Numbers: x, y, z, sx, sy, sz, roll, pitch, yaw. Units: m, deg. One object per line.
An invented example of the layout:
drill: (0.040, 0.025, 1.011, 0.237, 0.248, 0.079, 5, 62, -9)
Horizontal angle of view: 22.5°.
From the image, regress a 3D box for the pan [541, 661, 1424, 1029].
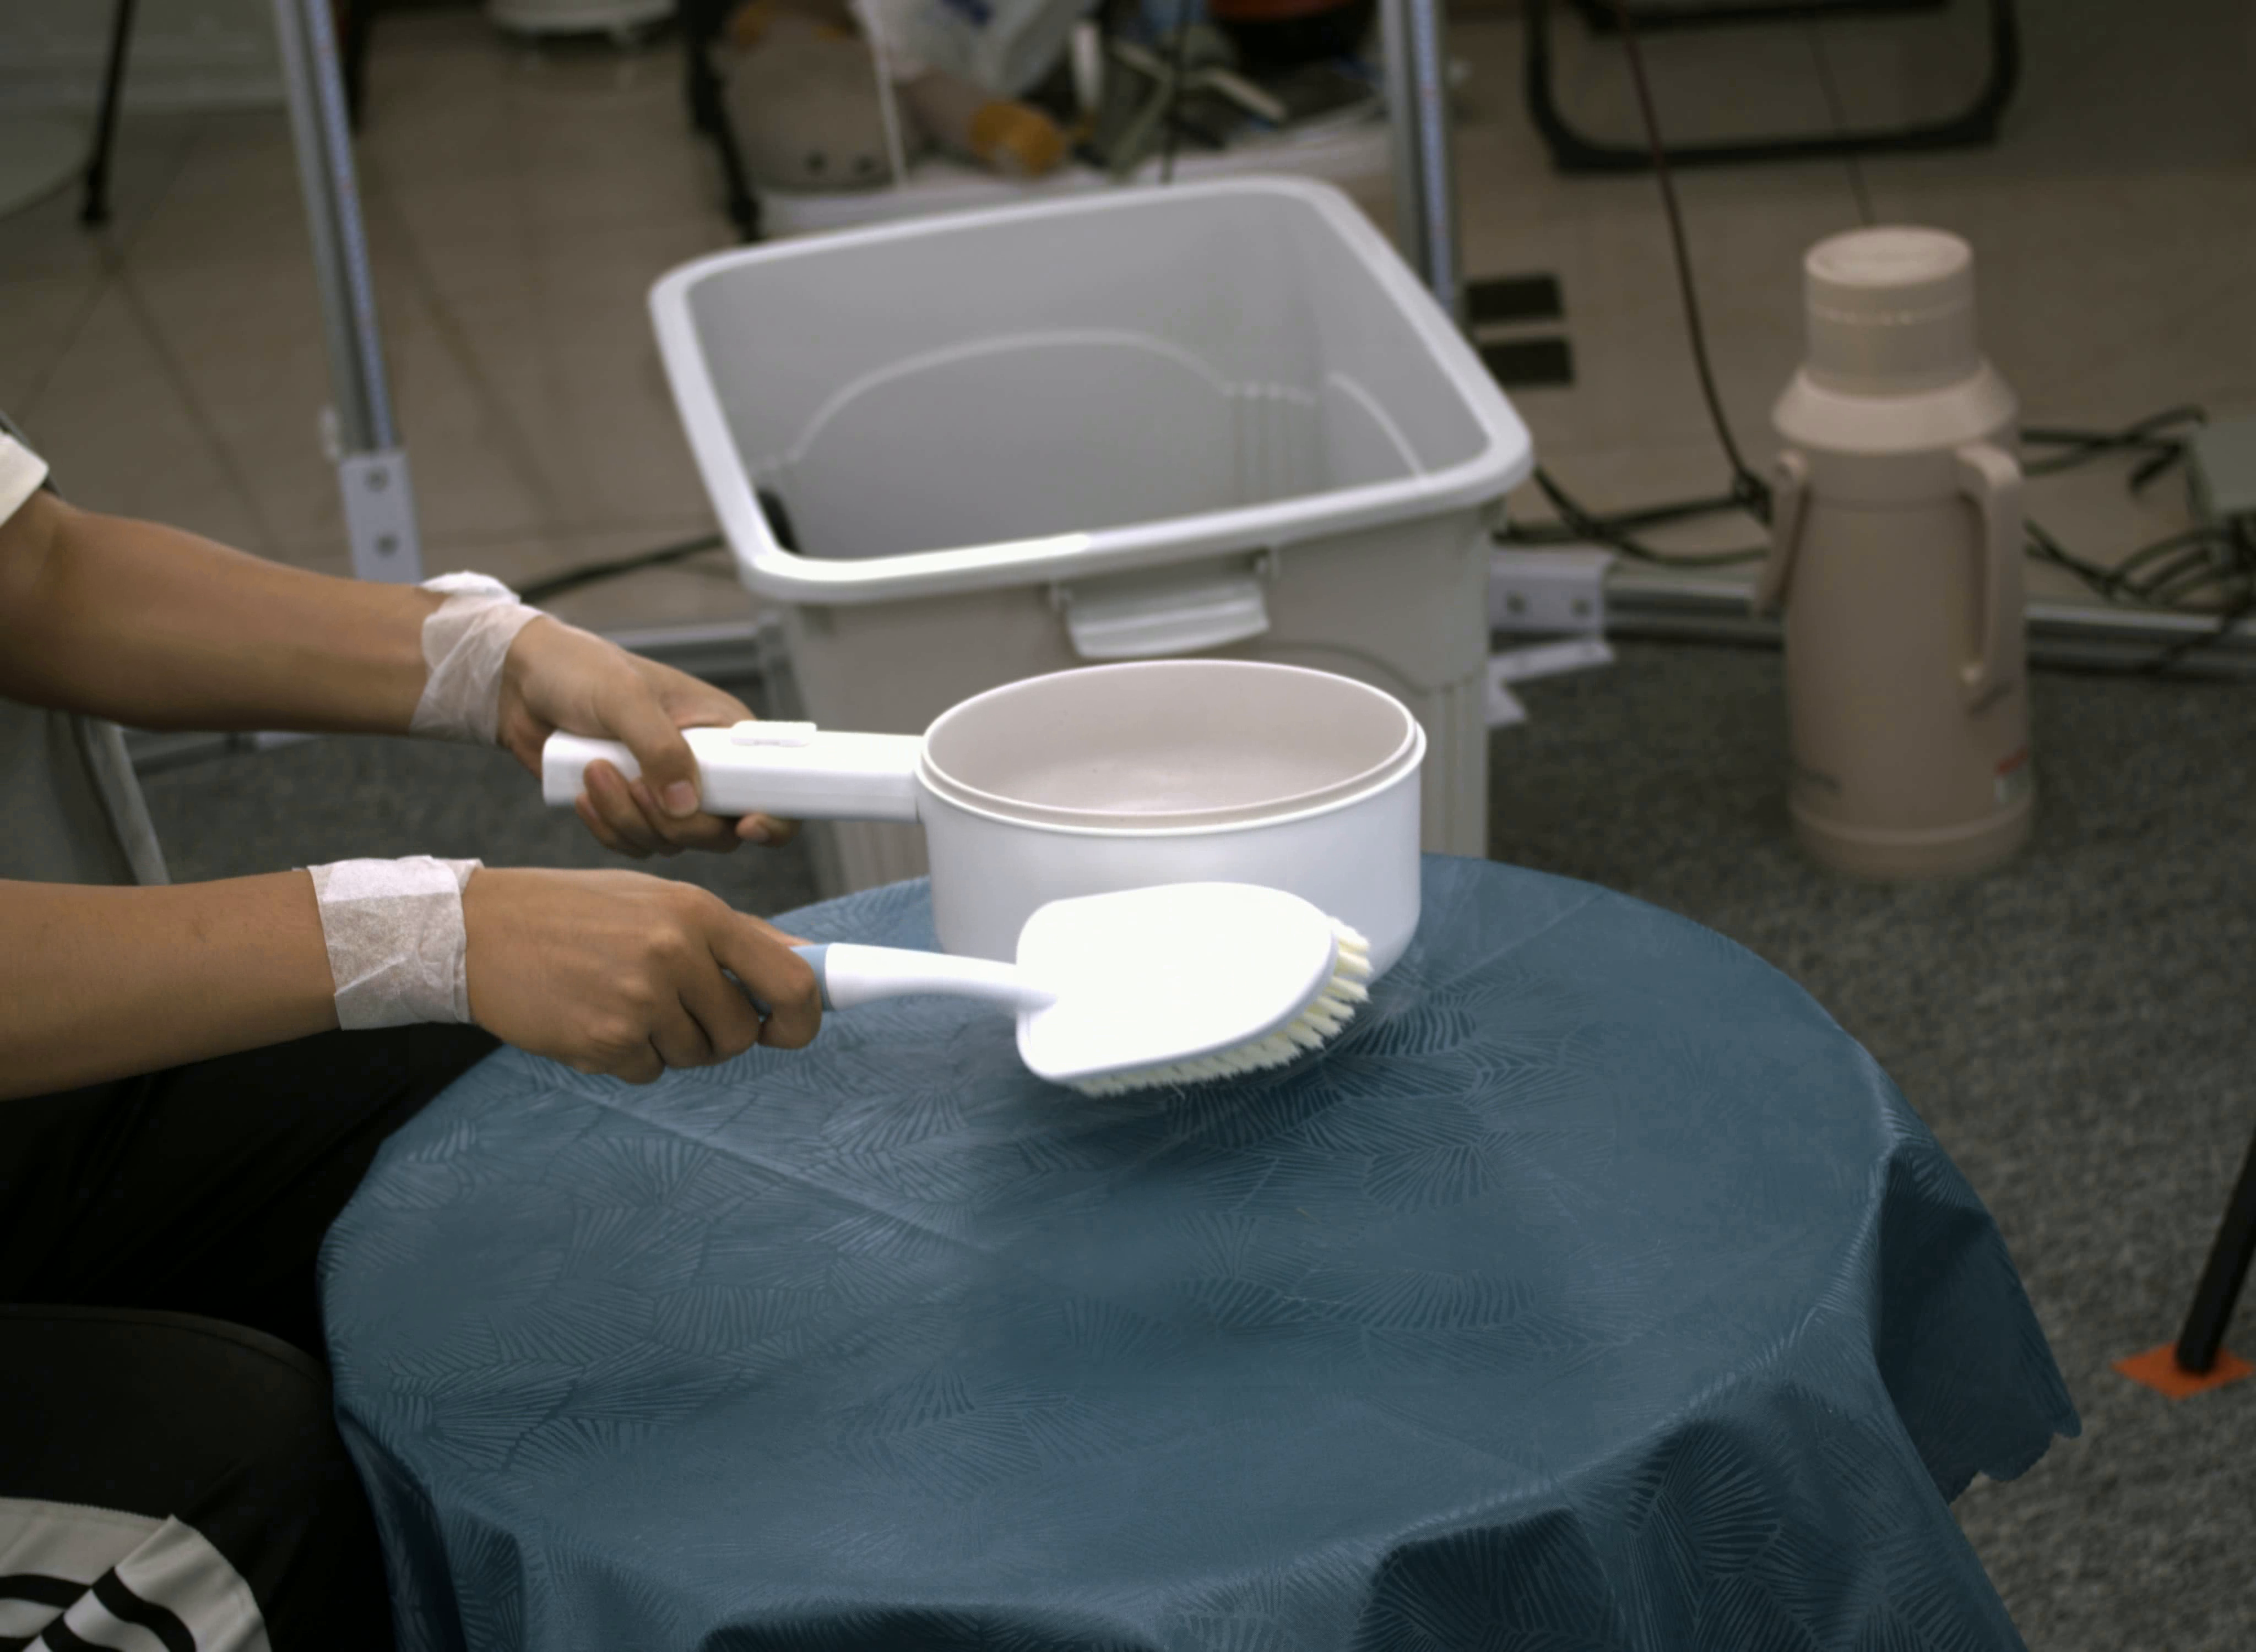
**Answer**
pan: (-0.057, 0.010, 2.249, 0.354, 0.103, 0.199, 1, 20, 12)

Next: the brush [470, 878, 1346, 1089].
brush: (-0.078, 0.060, 2.075, 0.325, 0.086, 0.081, -5, 34, 12)
